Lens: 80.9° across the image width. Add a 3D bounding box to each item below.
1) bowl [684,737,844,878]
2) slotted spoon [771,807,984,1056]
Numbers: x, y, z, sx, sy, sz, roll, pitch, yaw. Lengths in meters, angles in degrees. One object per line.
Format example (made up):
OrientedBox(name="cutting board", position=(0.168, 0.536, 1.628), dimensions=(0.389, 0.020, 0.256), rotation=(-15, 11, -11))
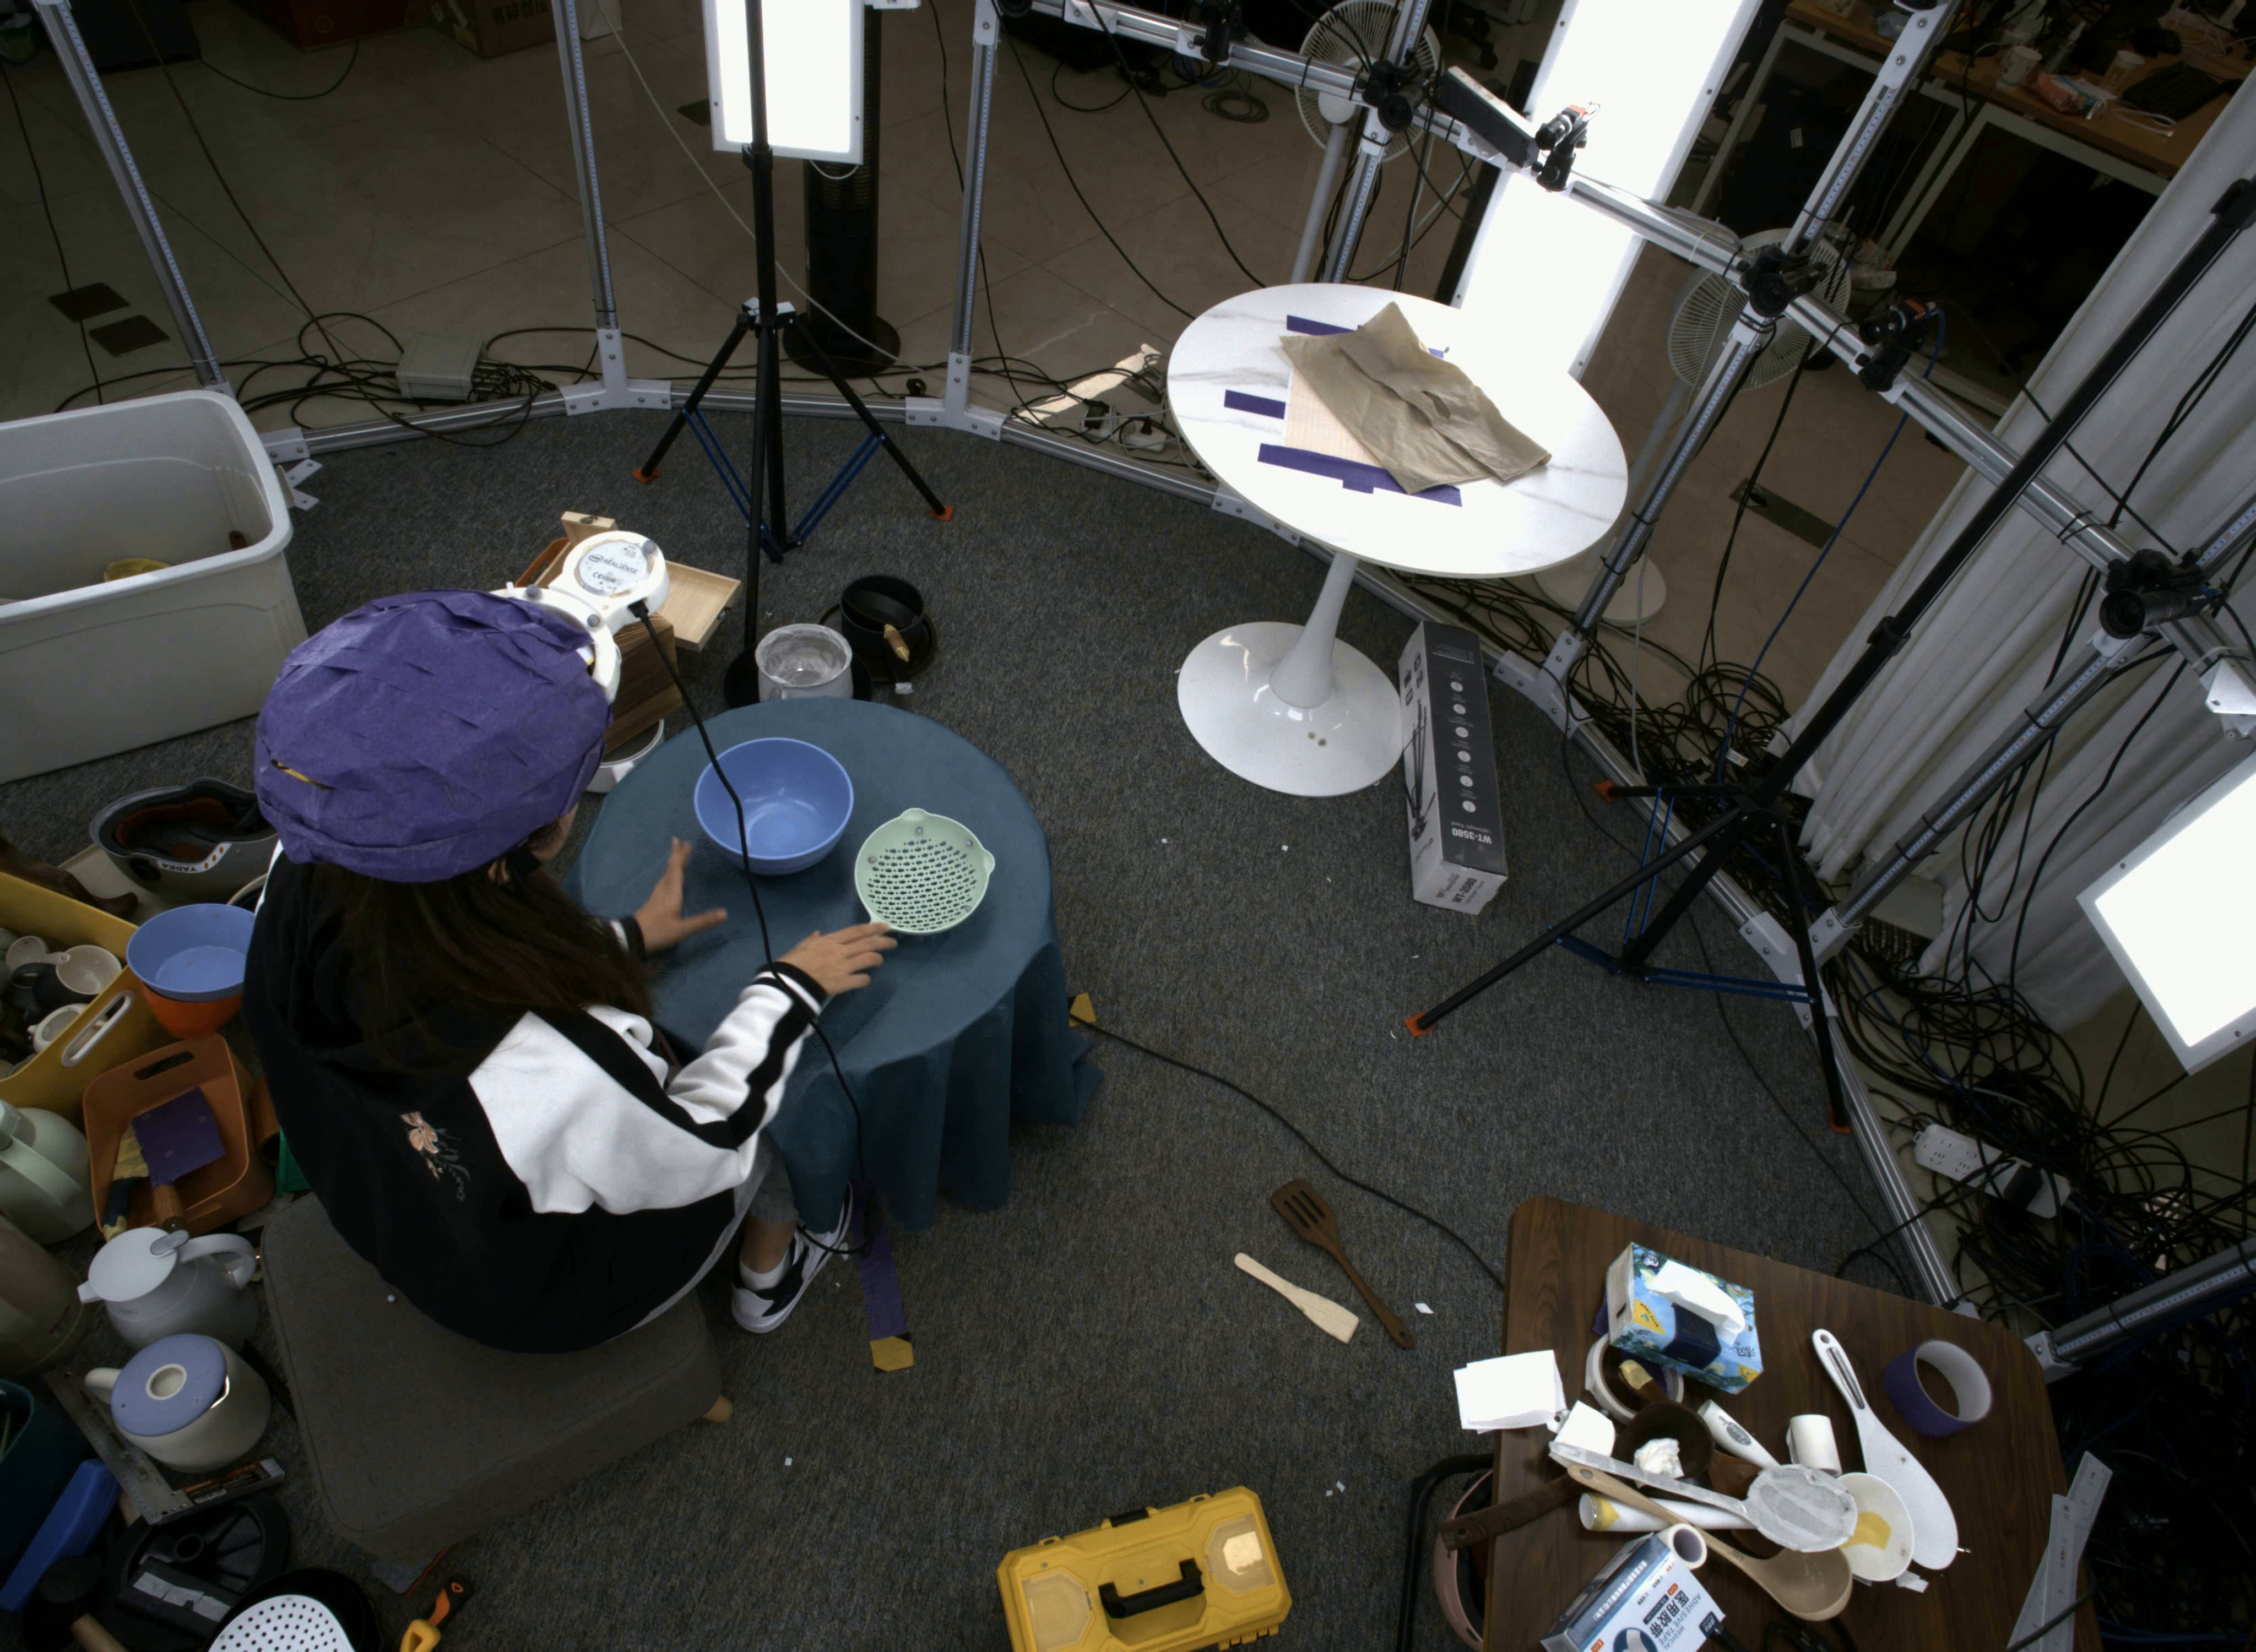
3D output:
OrientedBox(name="bowl", position=(-0.462, -0.009, 1.655), dimensions=(0.196, 0.097, 0.193), rotation=(8, 53, -9))
OrientedBox(name="slotted spoon", position=(-0.324, 0.131, 1.610), dimensions=(0.166, 0.077, 0.357), rotation=(31, 54, 9))
